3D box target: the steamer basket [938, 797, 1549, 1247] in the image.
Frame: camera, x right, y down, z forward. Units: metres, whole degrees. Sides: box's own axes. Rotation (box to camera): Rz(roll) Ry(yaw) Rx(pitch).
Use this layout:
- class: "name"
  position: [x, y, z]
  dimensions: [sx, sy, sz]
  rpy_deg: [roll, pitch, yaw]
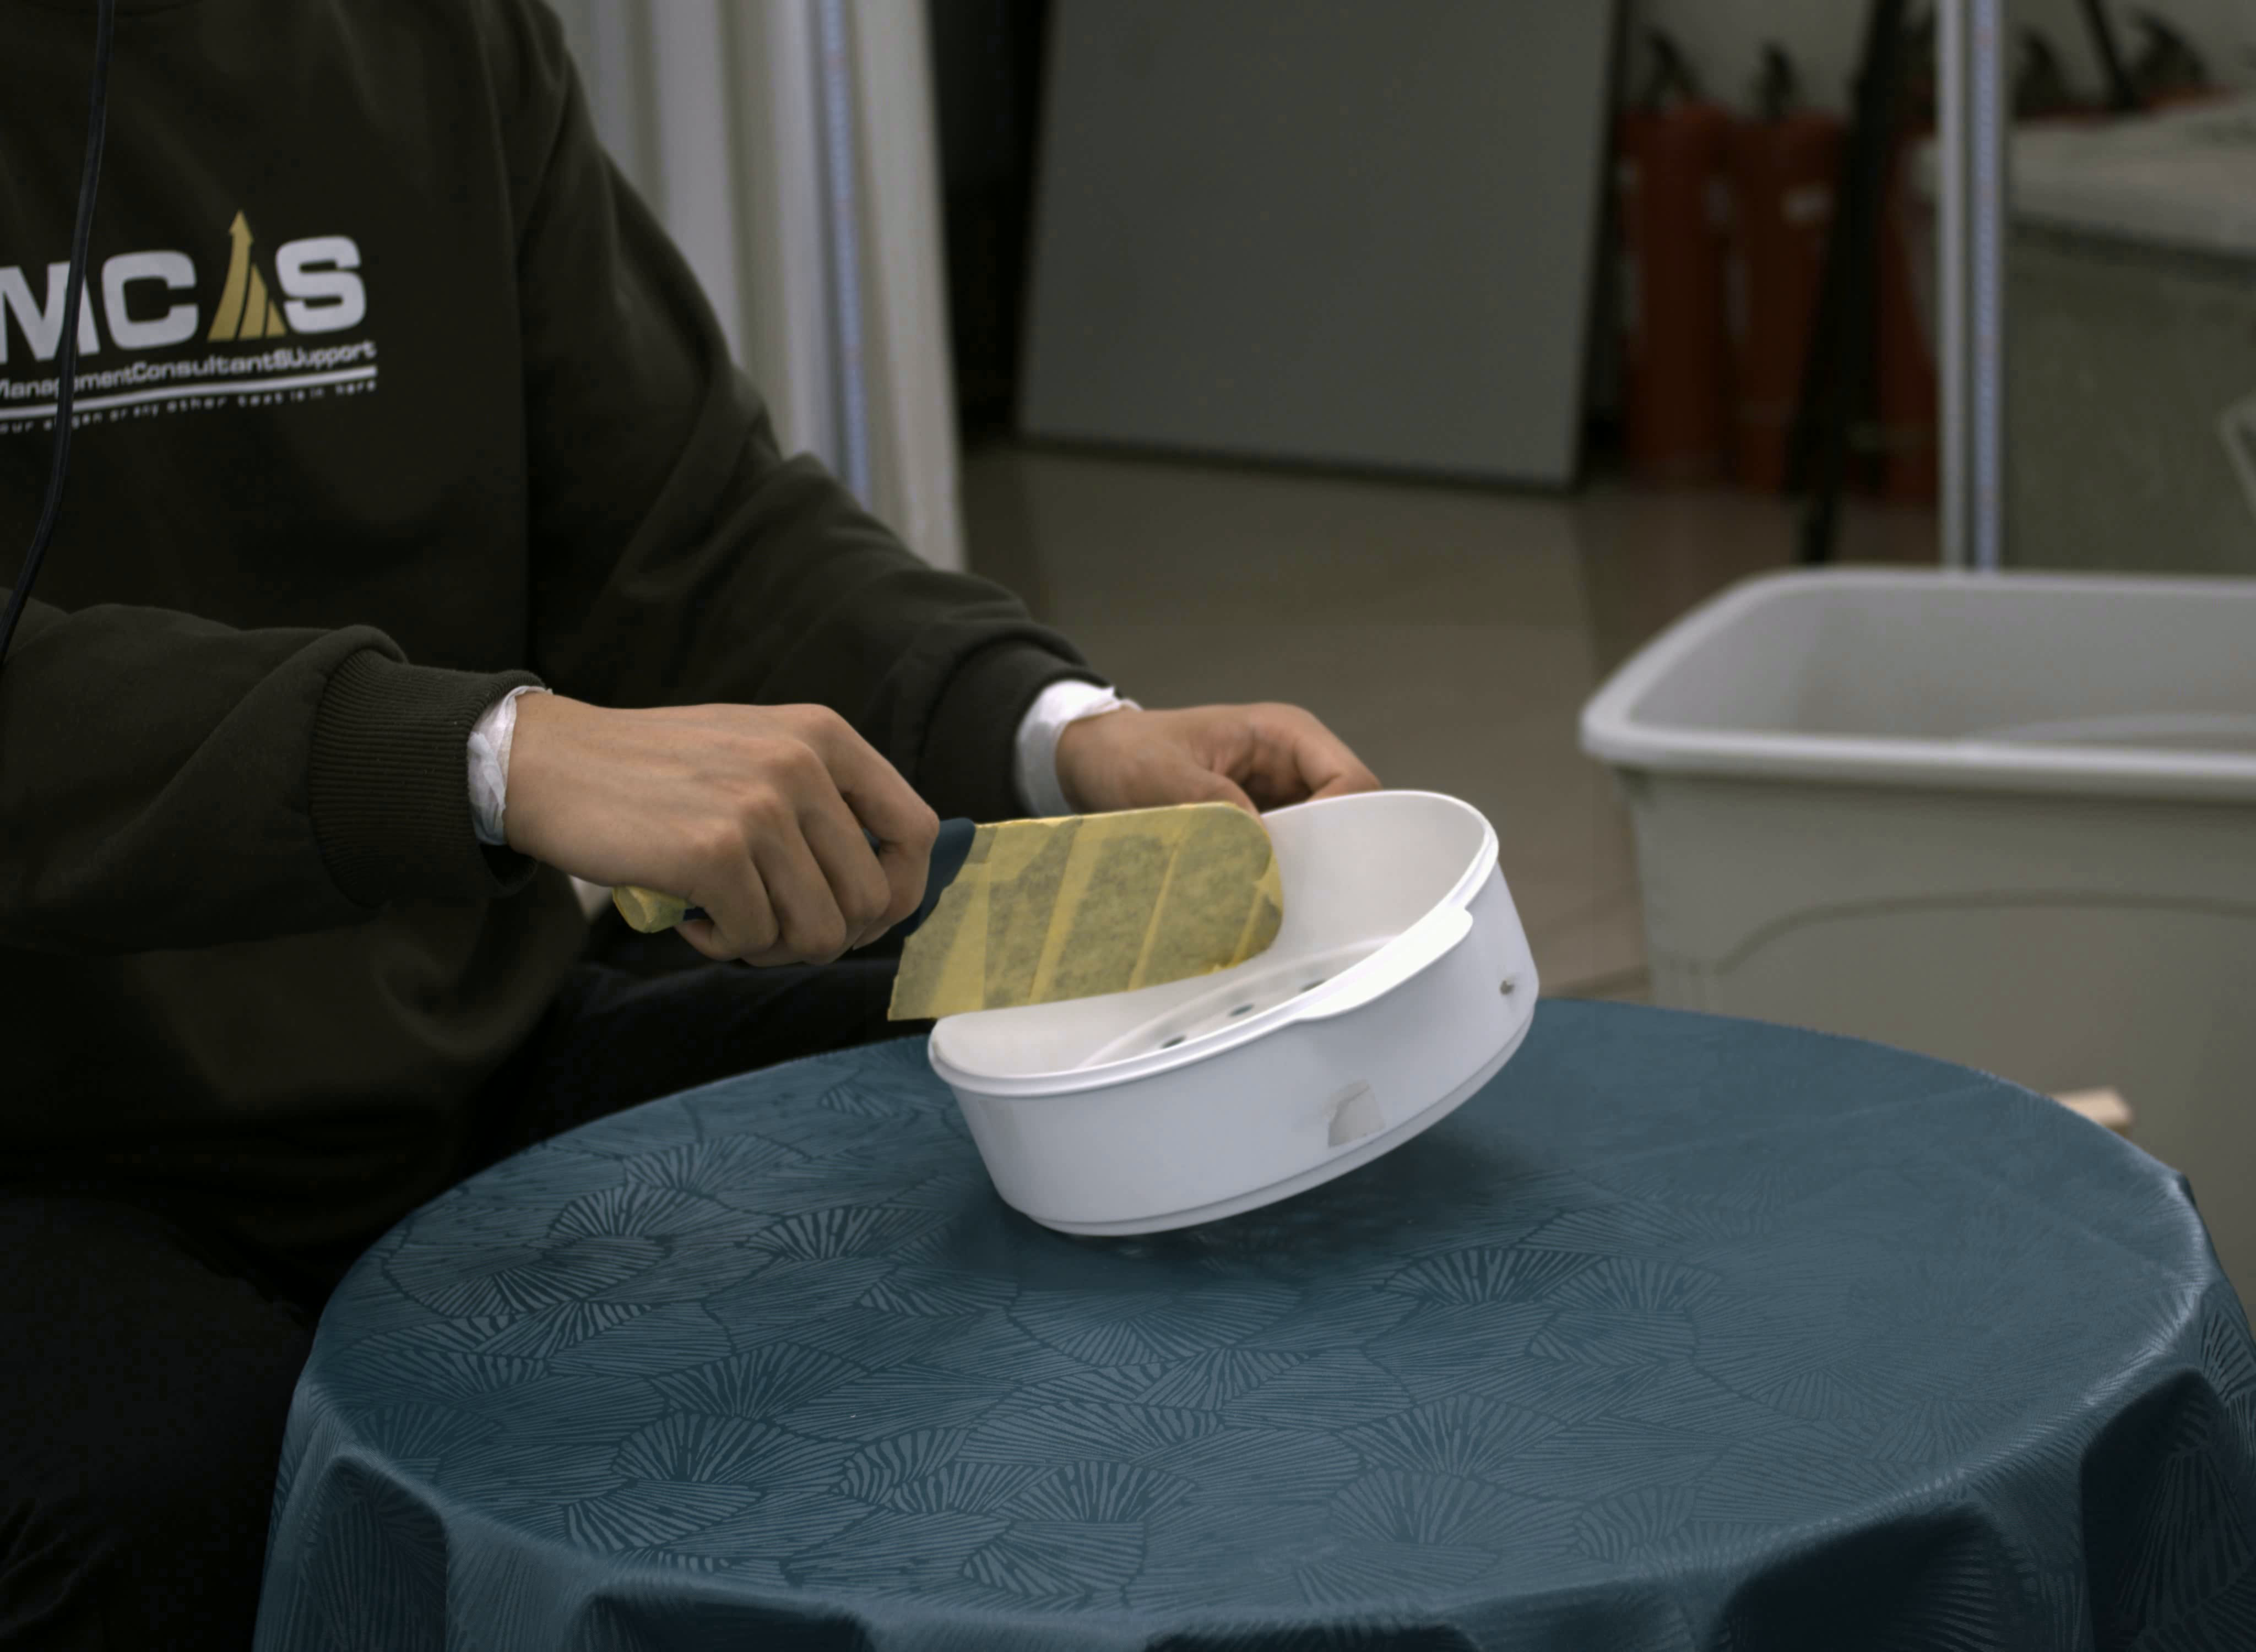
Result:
- class: "steamer basket"
  position: [0.041, 0.064, 1.758]
  dimensions: [0.199, 0.069, 0.233]
  rpy_deg: [-31, 17, -27]

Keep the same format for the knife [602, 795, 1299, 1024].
- class: "knife"
  position: [-0.052, 0.027, 1.746]
  dimensions: [0.283, 0.082, 0.027]
  rpy_deg: [-1, 26, -39]
